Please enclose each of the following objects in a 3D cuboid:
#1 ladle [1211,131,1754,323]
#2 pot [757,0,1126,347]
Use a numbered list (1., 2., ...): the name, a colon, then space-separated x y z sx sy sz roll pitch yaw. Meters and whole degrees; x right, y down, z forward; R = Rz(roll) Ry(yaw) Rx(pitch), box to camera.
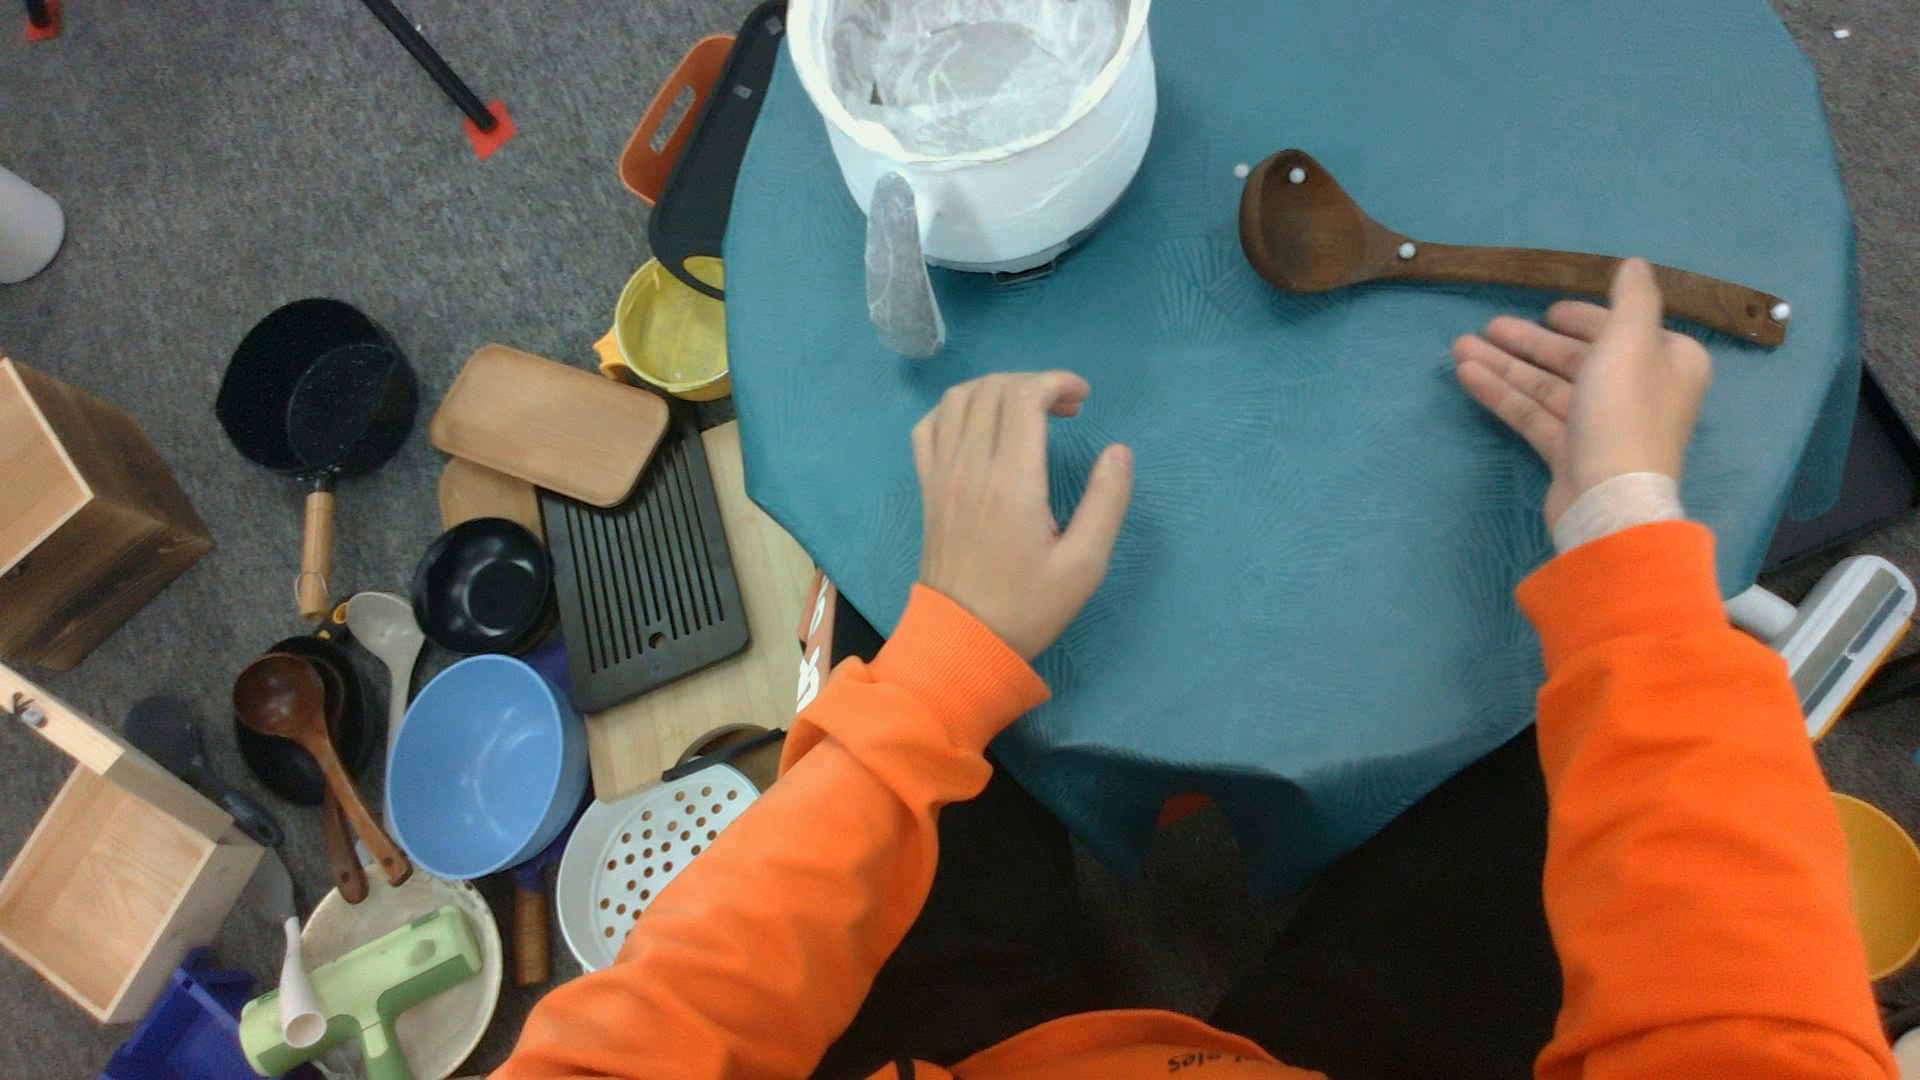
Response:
1. ladle: 0.264 -0.153 0.694 0.274 0.071 0.076 11 80 12
2. pot: -0.011 -0.223 0.720 0.178 0.136 0.234 14 77 13
